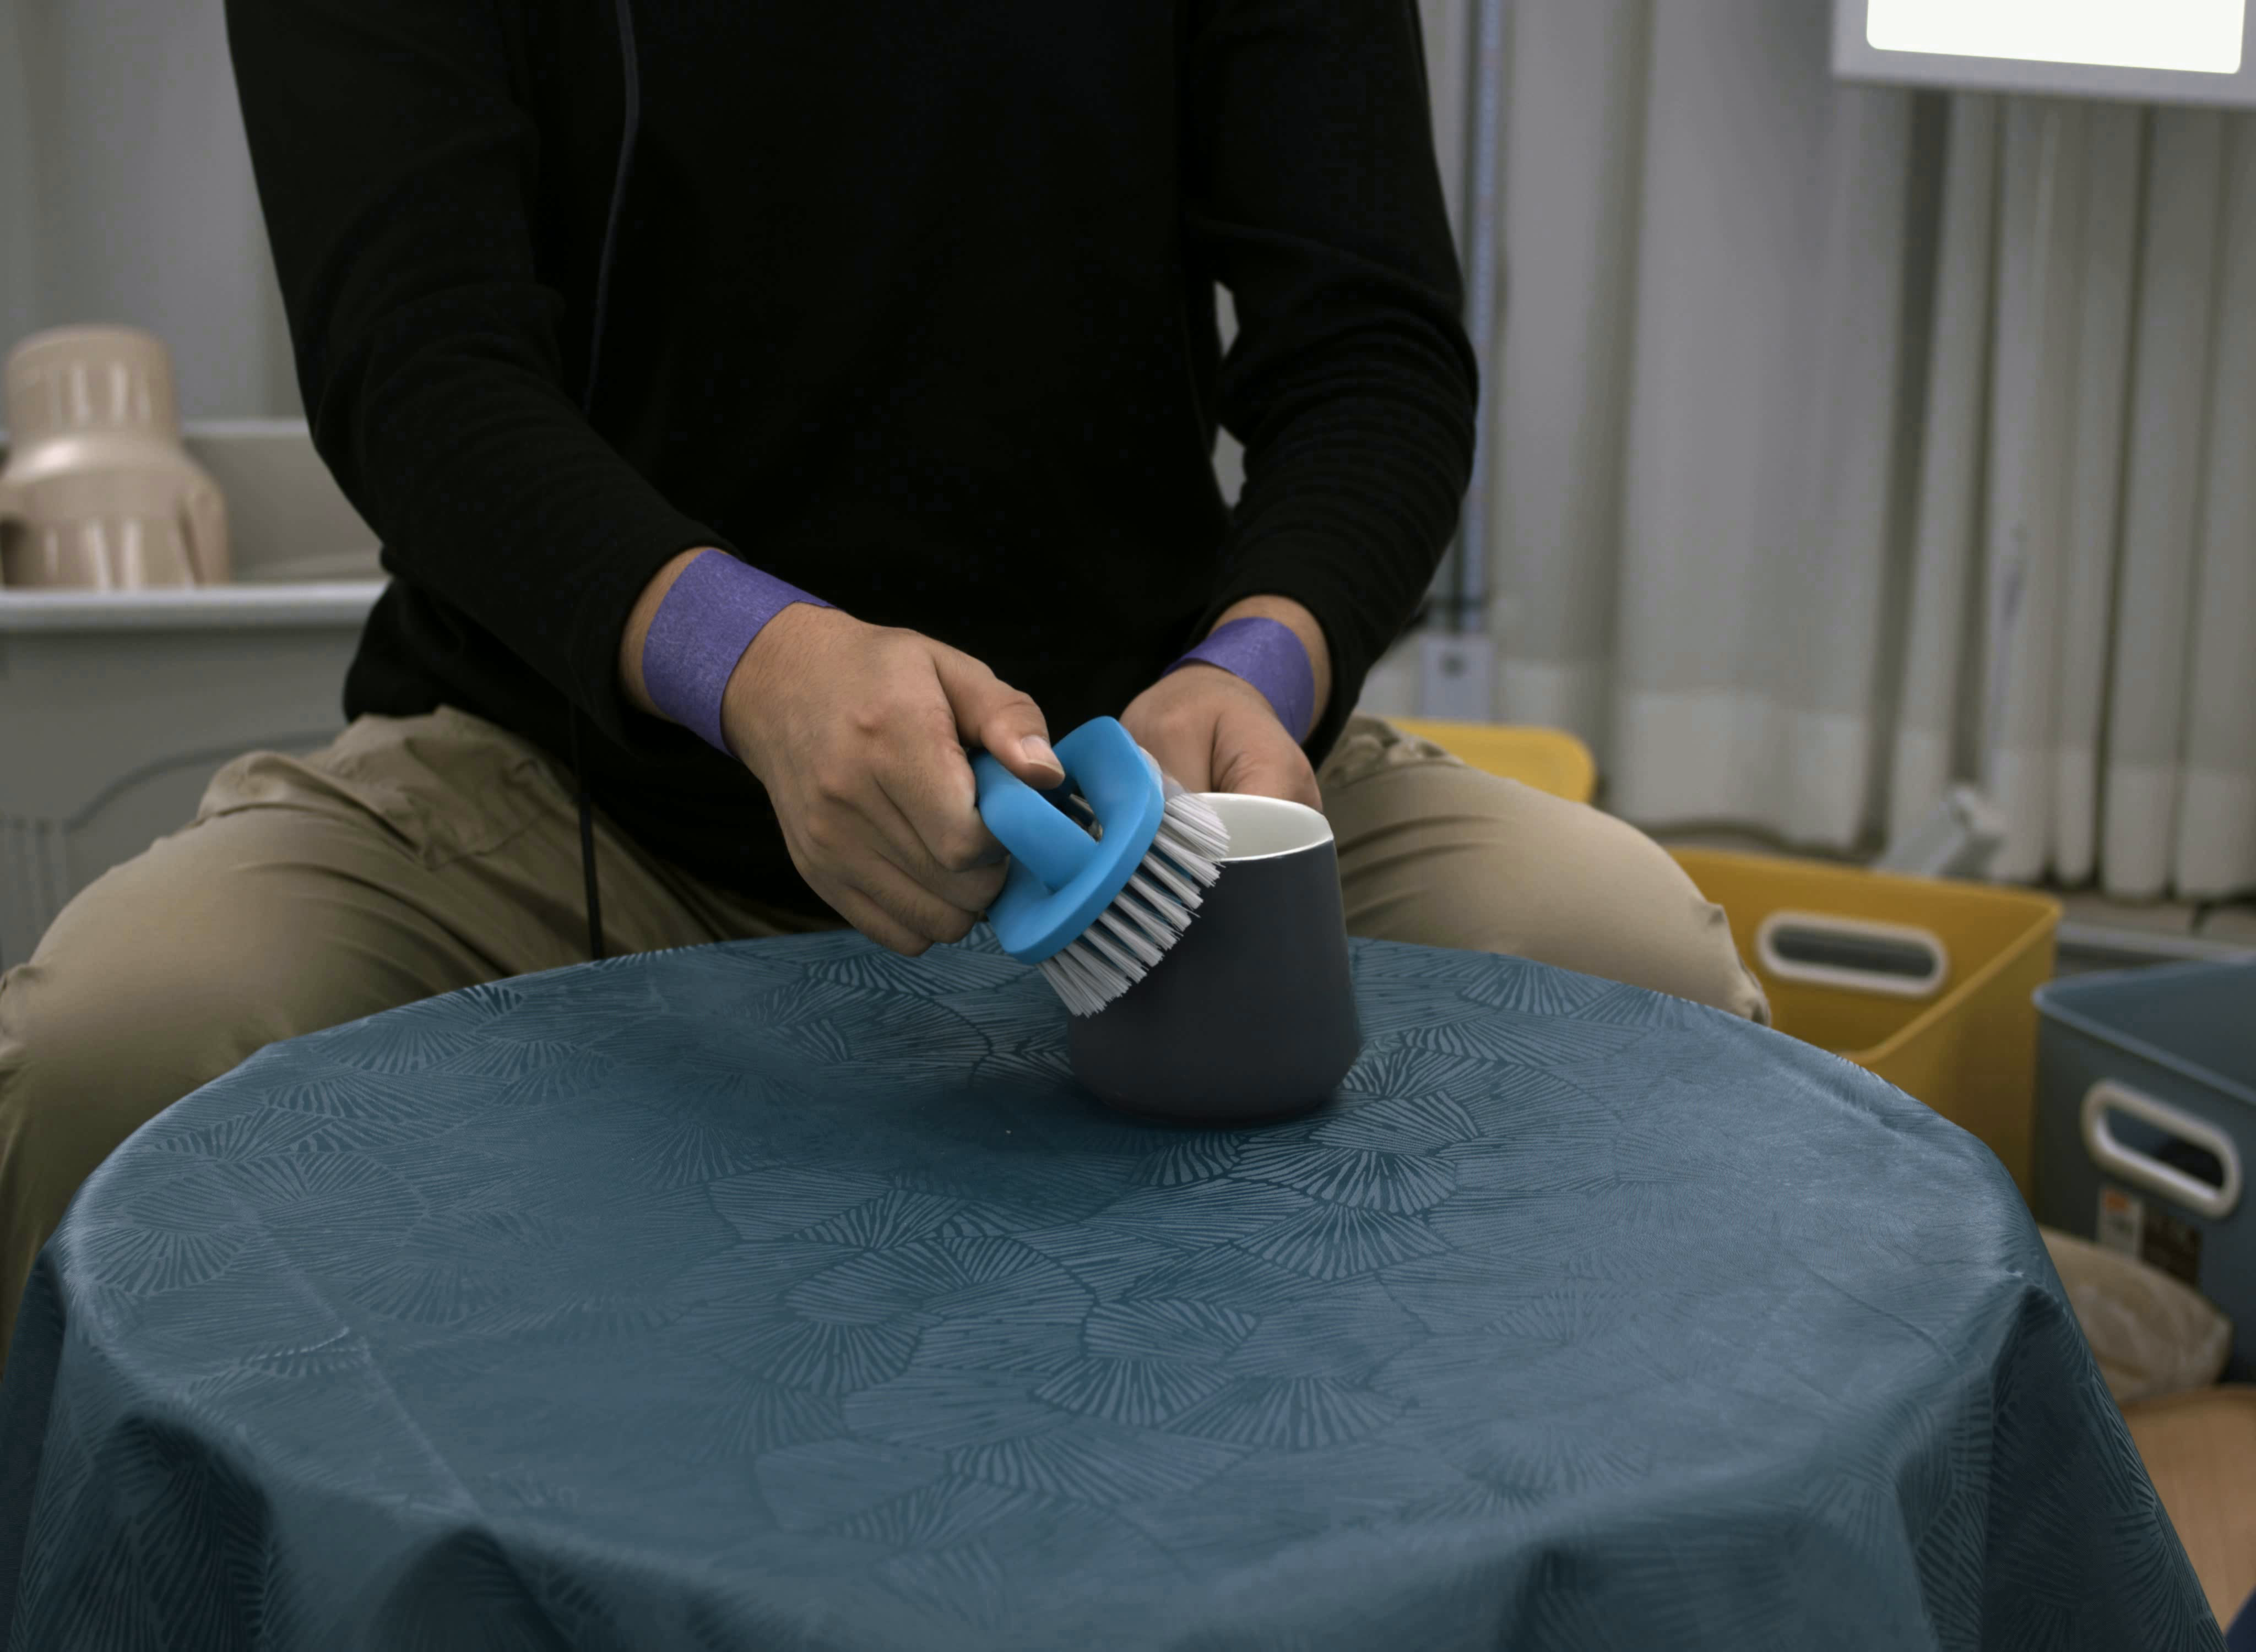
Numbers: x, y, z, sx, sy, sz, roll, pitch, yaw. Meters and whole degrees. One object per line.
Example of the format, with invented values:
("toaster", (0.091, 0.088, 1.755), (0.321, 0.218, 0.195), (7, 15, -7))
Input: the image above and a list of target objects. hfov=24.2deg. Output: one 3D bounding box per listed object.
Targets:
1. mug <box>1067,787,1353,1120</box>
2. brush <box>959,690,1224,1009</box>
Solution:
("mug", (0.026, 0.037, 1.717), (0.093, 0.090, 0.122), (-1, 18, -5))
("brush", (-0.021, -0.002, 1.676), (0.064, 0.084, 0.140), (35, 9, -16))
